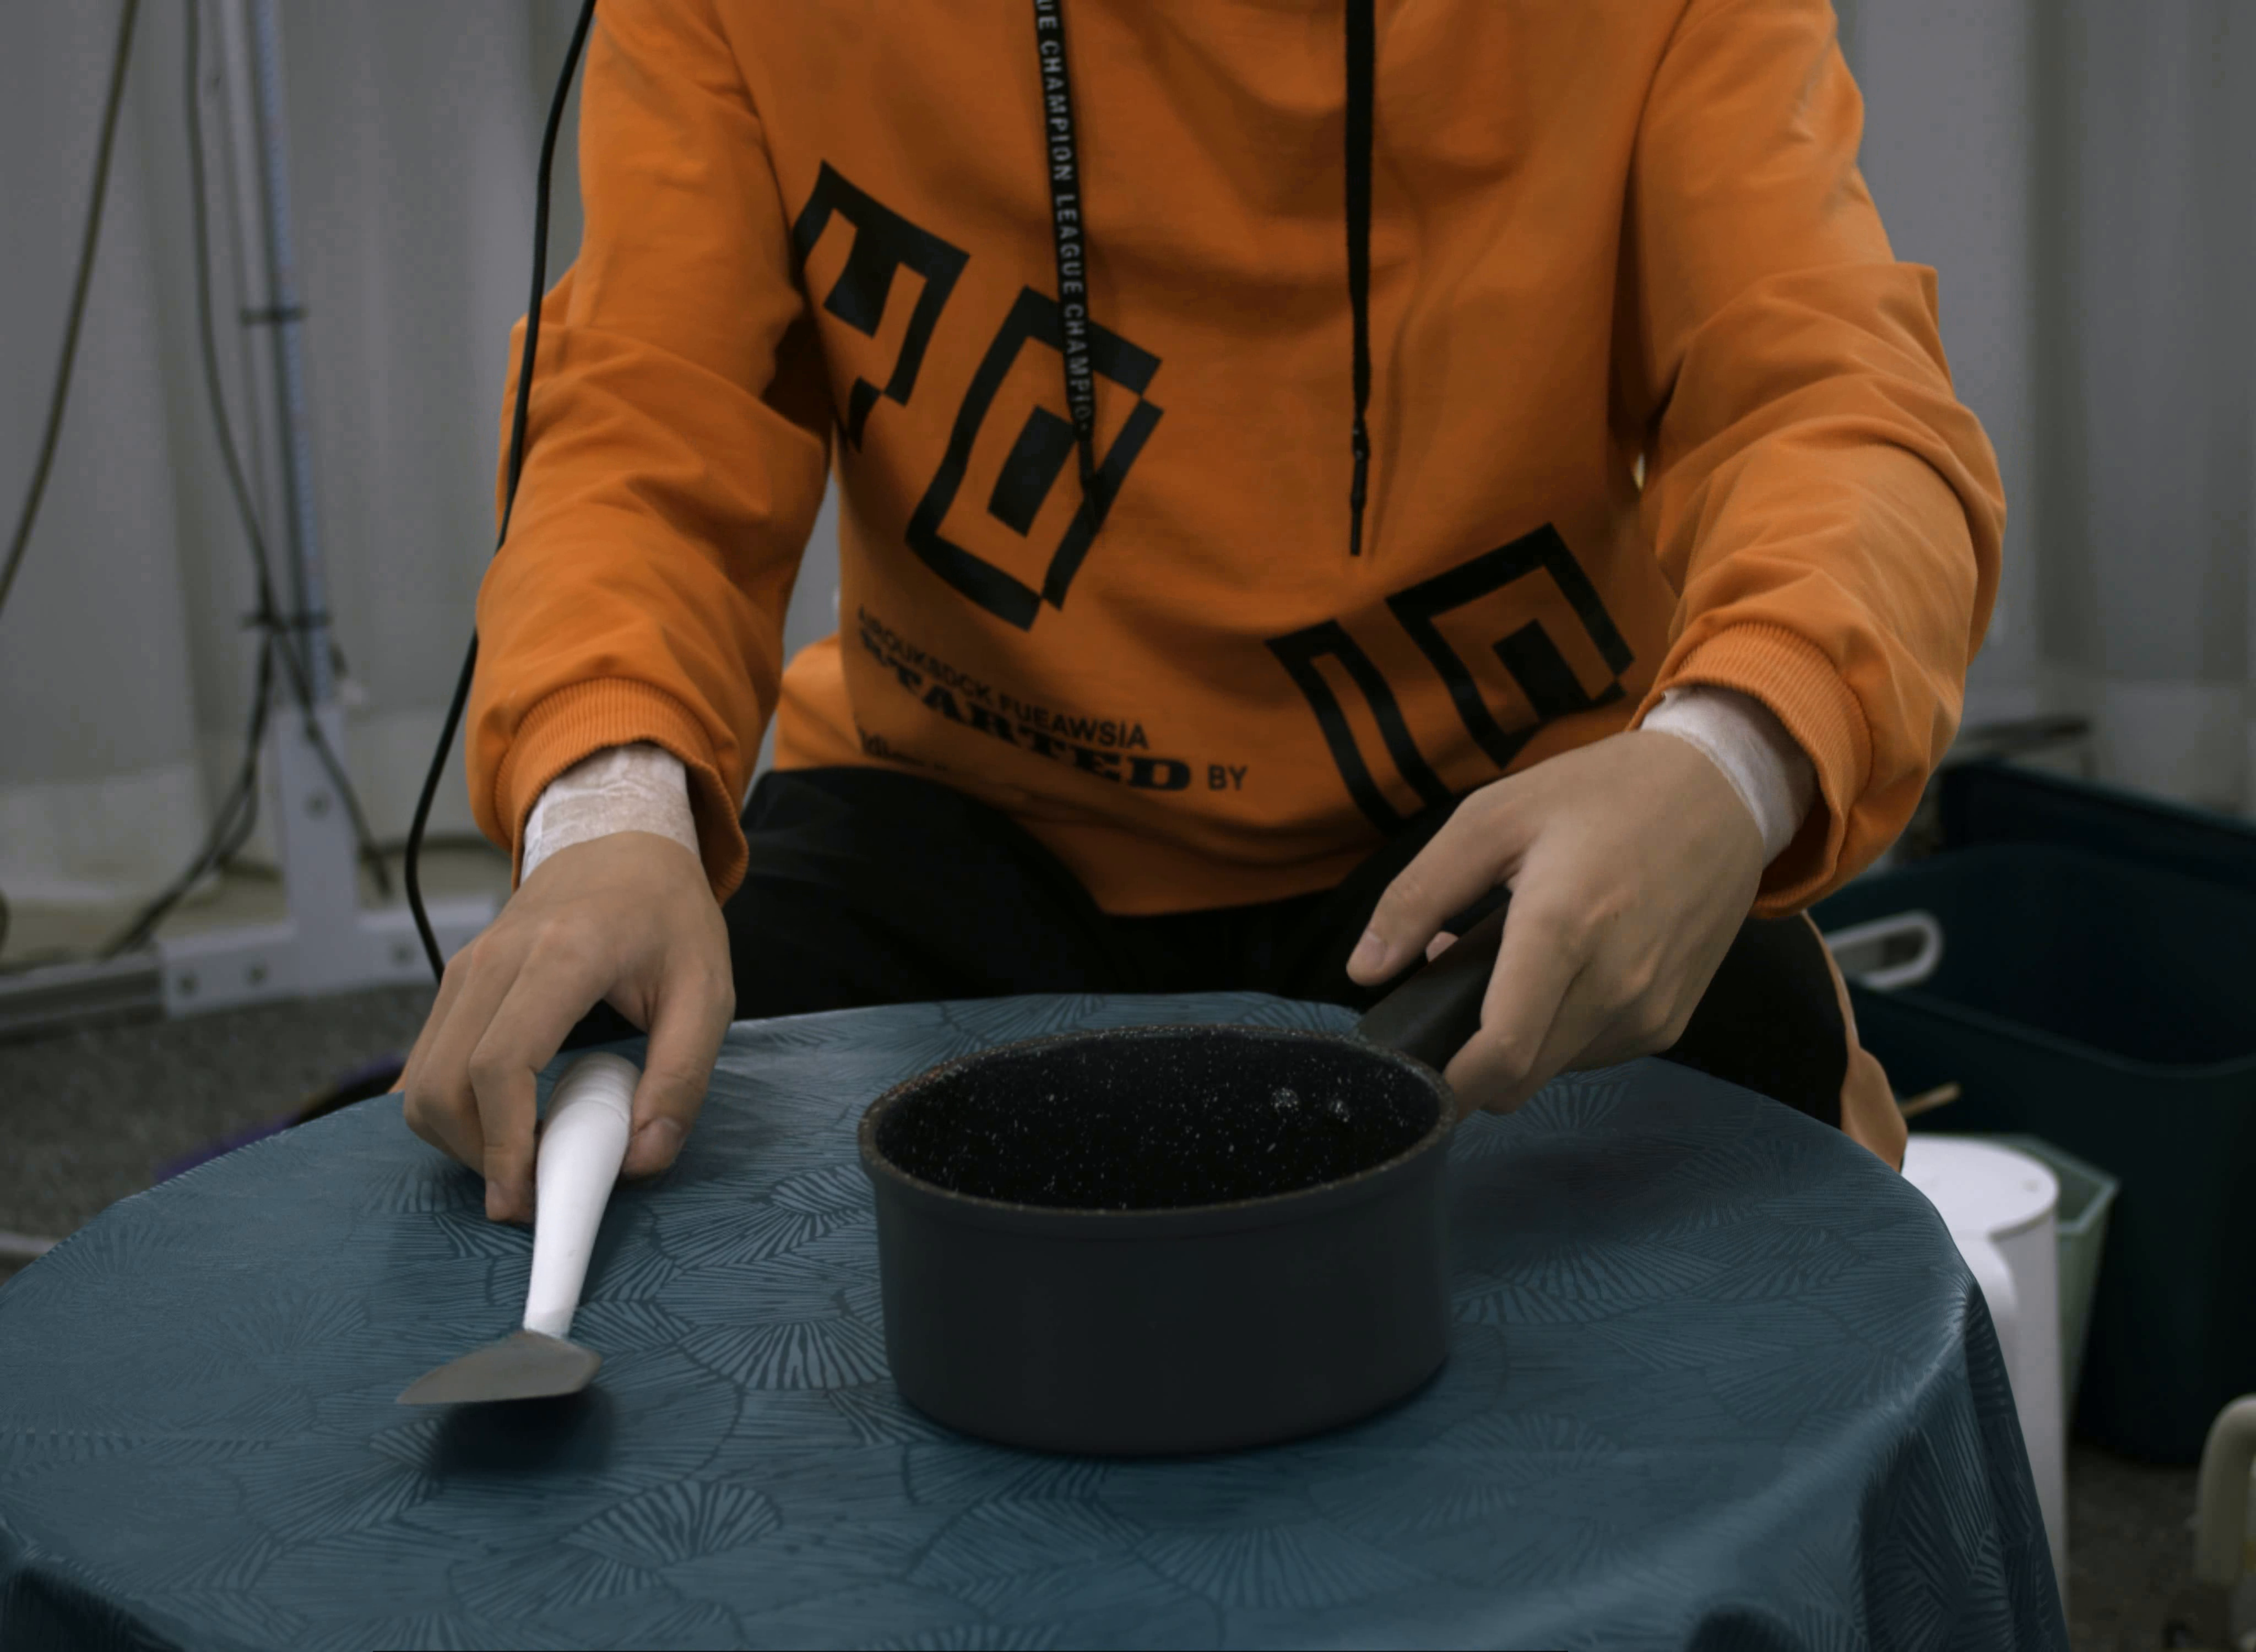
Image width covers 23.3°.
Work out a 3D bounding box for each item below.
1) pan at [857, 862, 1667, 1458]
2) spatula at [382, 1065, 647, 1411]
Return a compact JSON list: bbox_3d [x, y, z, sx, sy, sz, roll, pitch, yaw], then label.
[{"bbox_3d":[0.058,0.095,1.616,0.173,0.086,0.329,9,21,37],"label":"pan"},{"bbox_3d":[-0.174,0.129,1.635,0.058,0.032,0.289,1,15,1],"label":"spatula"}]
